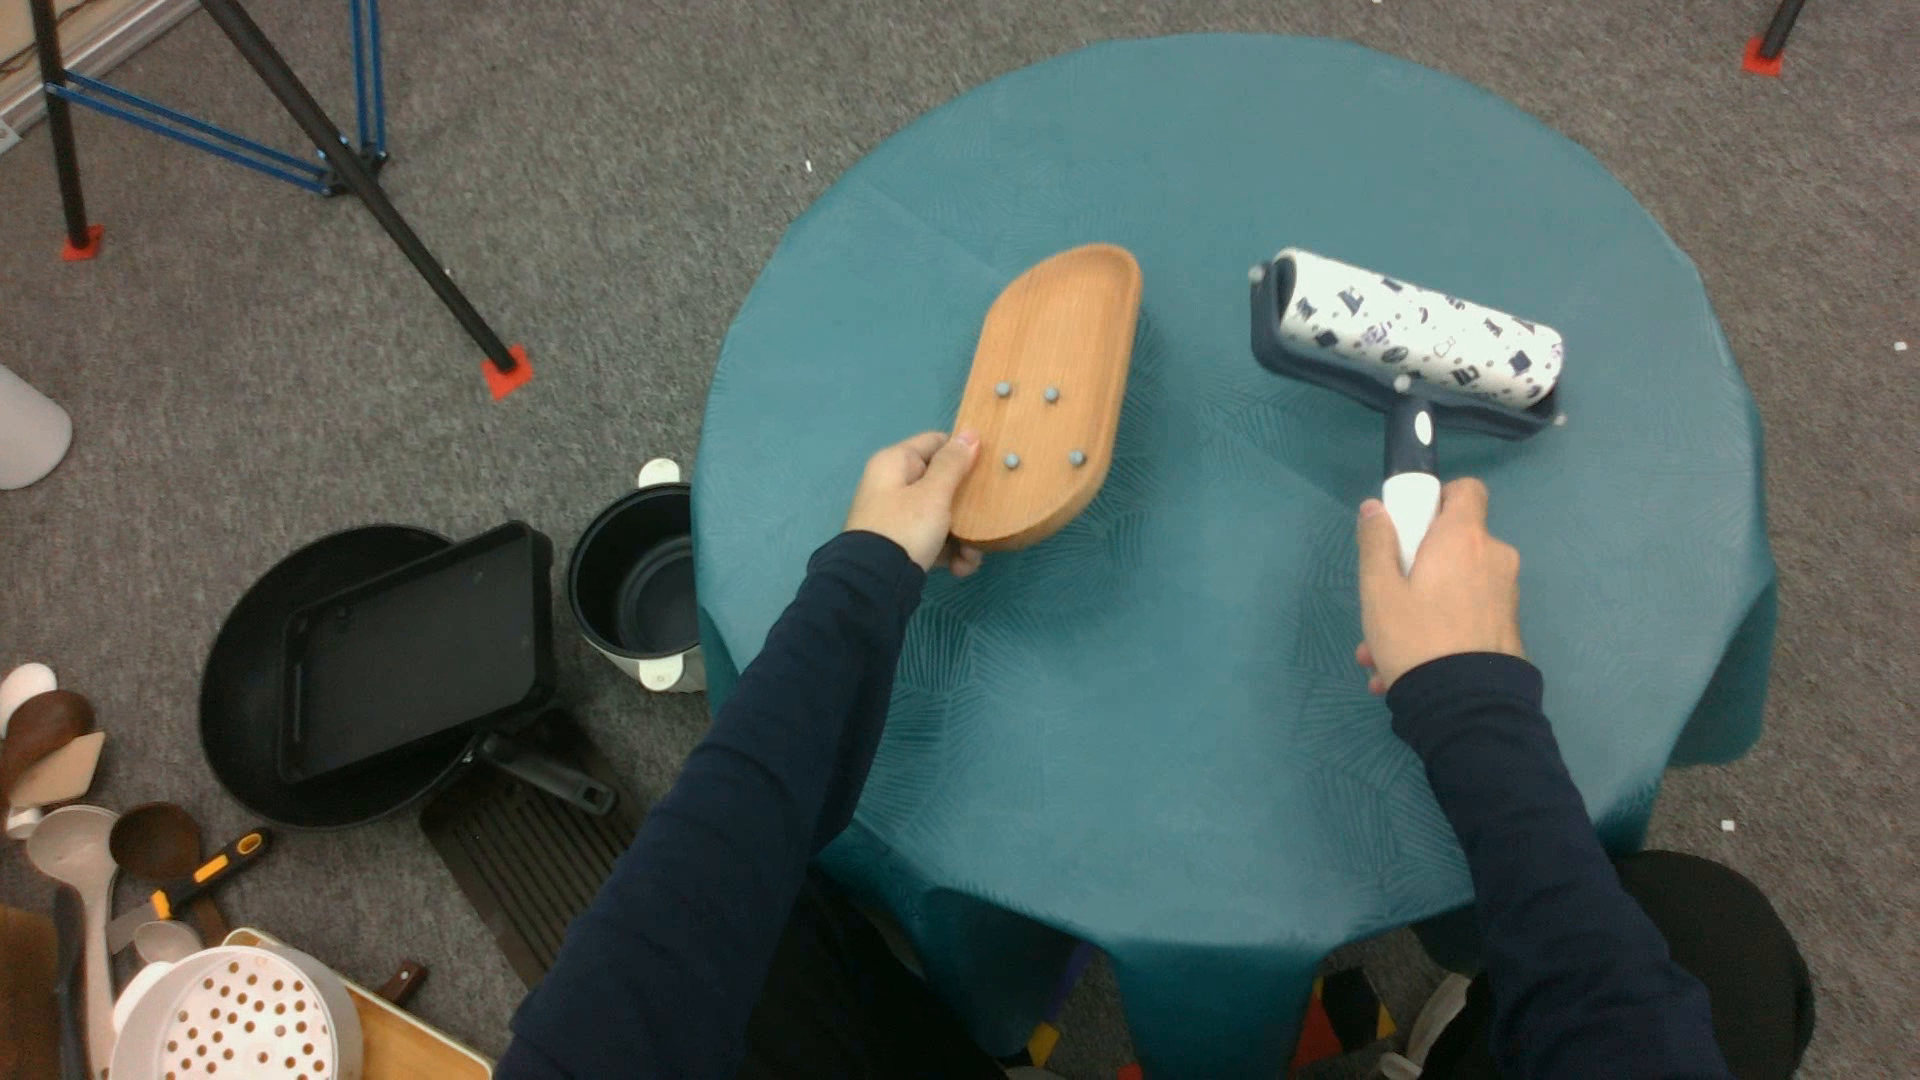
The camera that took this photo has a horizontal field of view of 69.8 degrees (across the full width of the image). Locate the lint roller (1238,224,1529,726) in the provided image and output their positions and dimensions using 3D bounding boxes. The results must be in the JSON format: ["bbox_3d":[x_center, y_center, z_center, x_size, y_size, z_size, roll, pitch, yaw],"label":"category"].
[{"bbox_3d":[0.218,-0.029,0.692,0.176,0.050,0.248,15,64,-22],"label":"lint roller"}]

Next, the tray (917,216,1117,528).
[{"bbox_3d":[0.035,-0.098,0.760,0.101,0.020,0.232,-13,44,29],"label":"tray"}]
